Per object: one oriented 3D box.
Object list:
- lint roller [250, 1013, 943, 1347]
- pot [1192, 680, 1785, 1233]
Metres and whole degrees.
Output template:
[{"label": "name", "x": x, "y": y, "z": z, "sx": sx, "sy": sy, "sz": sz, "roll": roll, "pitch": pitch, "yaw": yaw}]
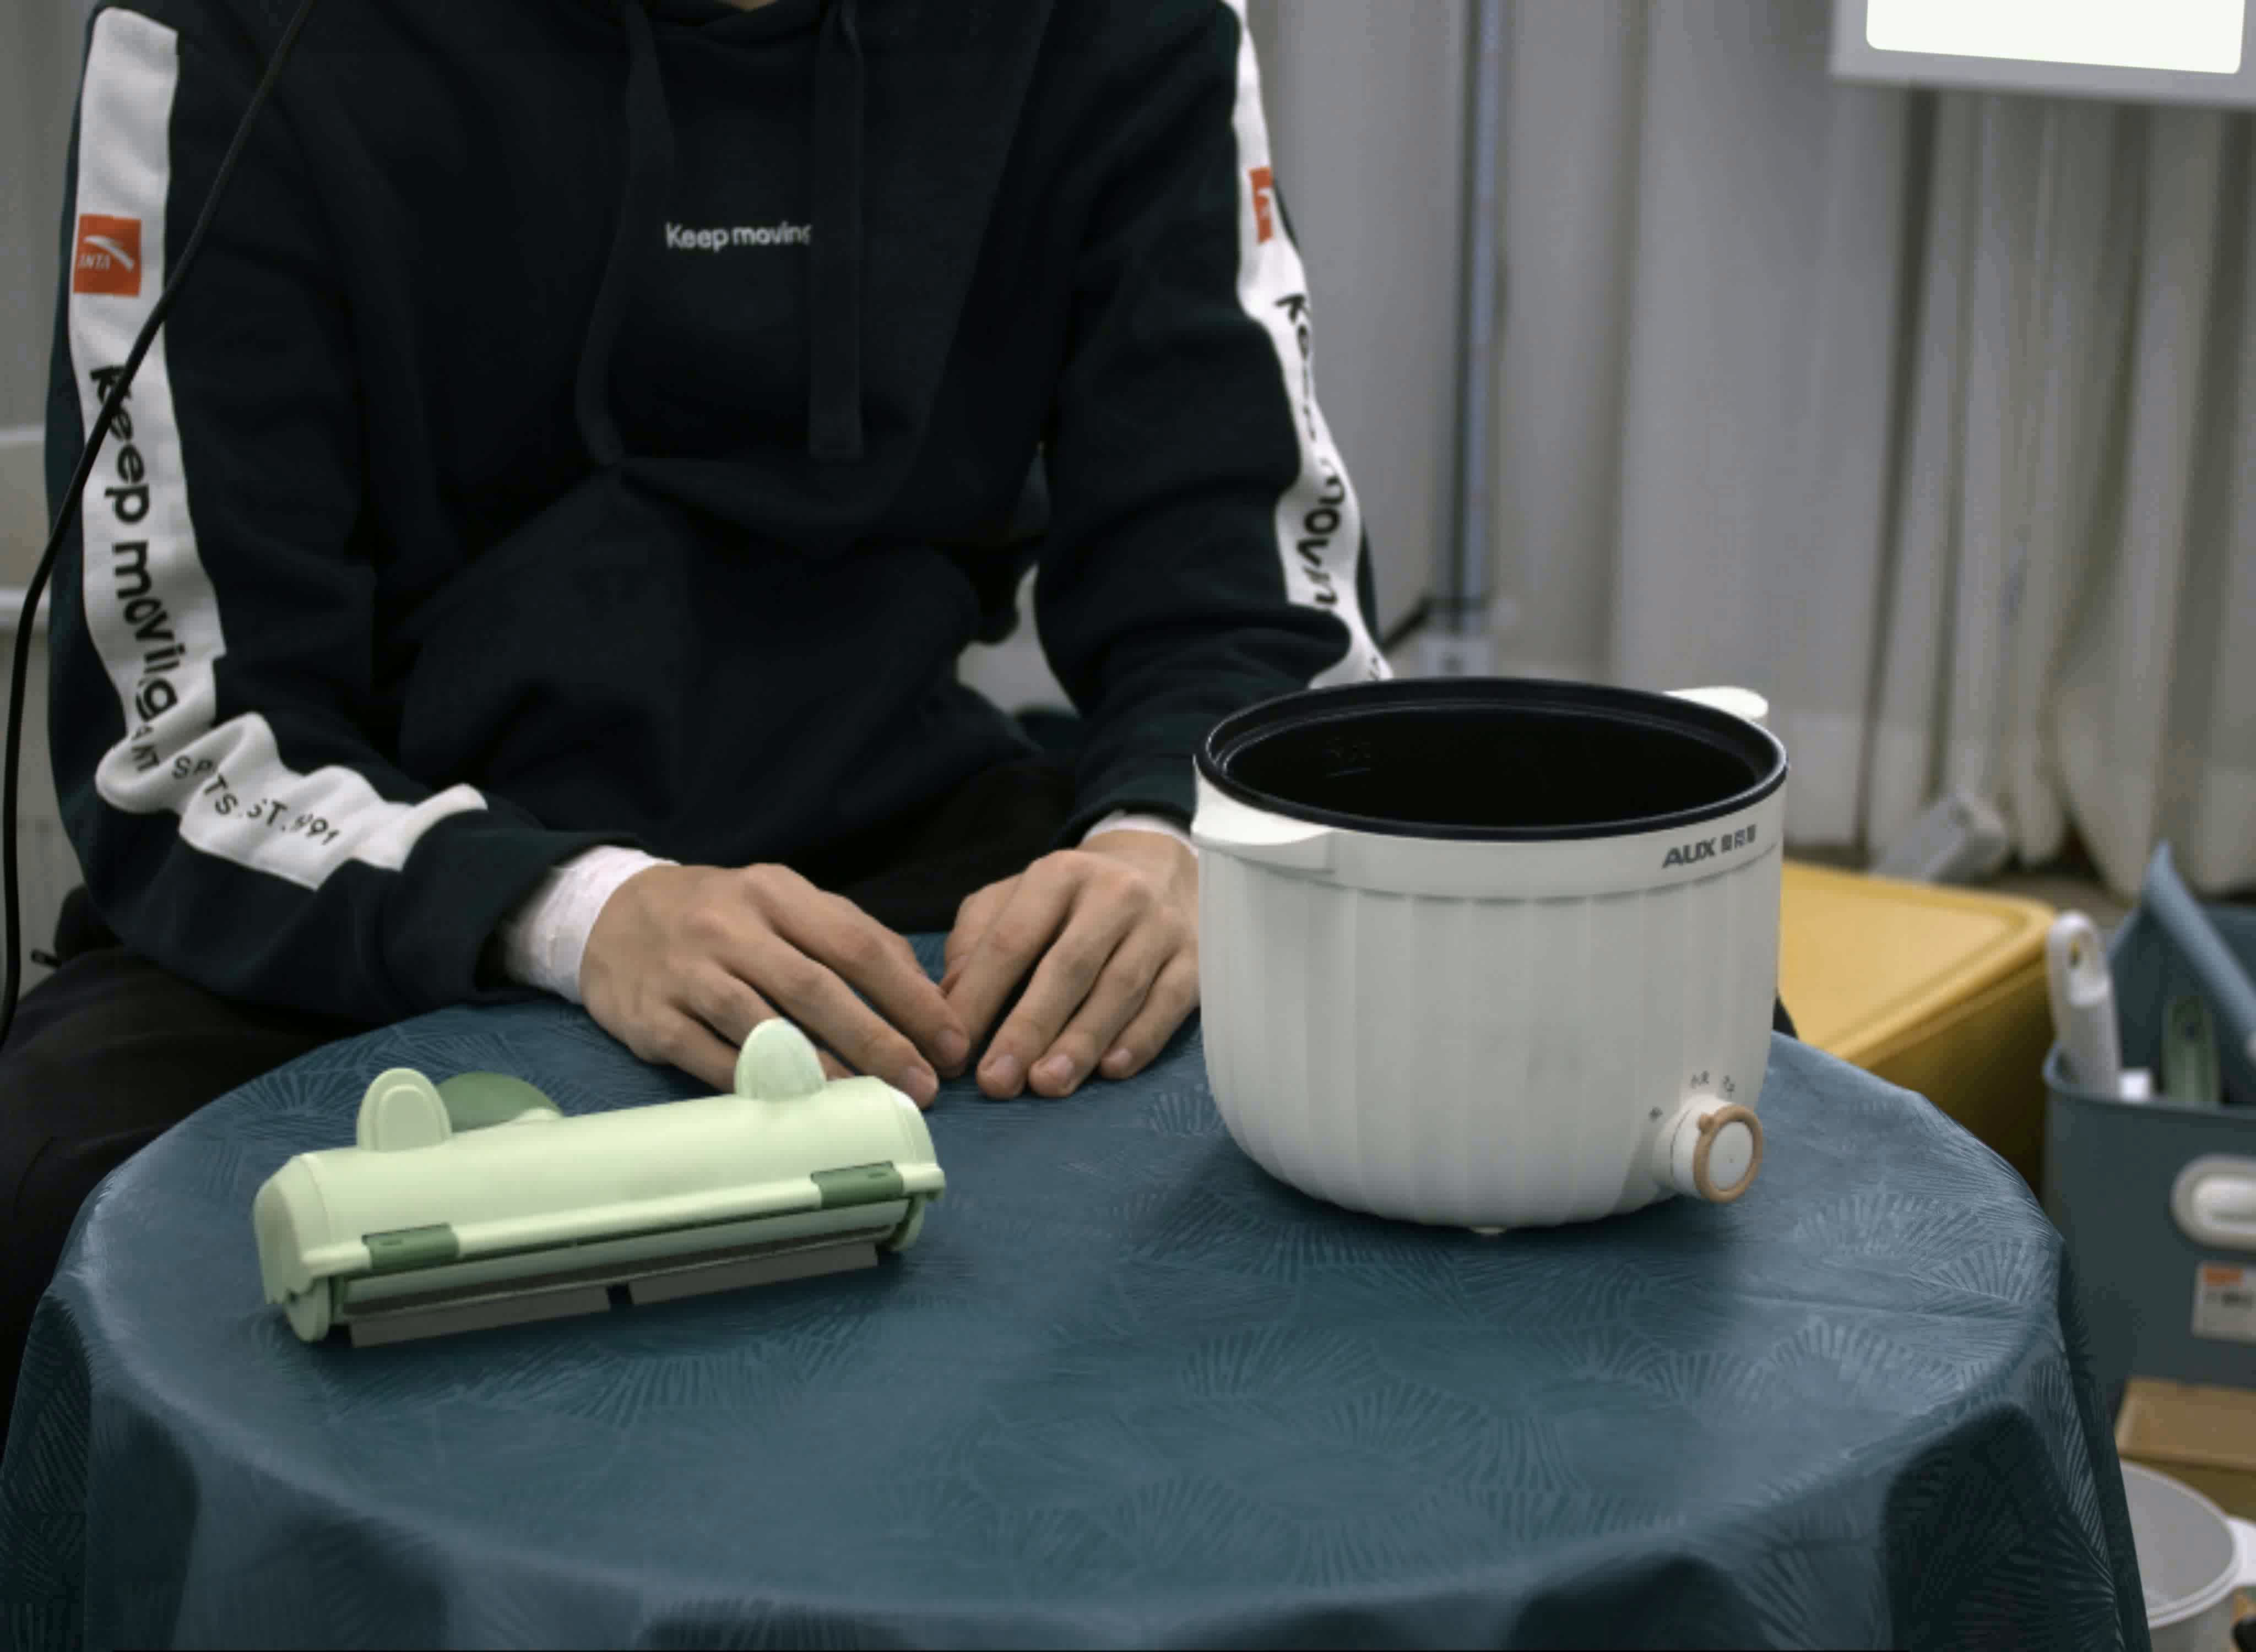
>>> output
[{"label": "lint roller", "x": -0.176, "y": 0.085, "z": 1.569, "sx": 0.199, "sy": 0.083, "sz": 0.181, "roll": -7, "pitch": 23, "yaw": -24}, {"label": "pot", "x": 0.115, "y": 0.041, "z": 1.621, "sx": 0.241, "sy": 0.144, "sz": 0.188, "roll": -16, "pitch": 19, "yaw": -42}]
